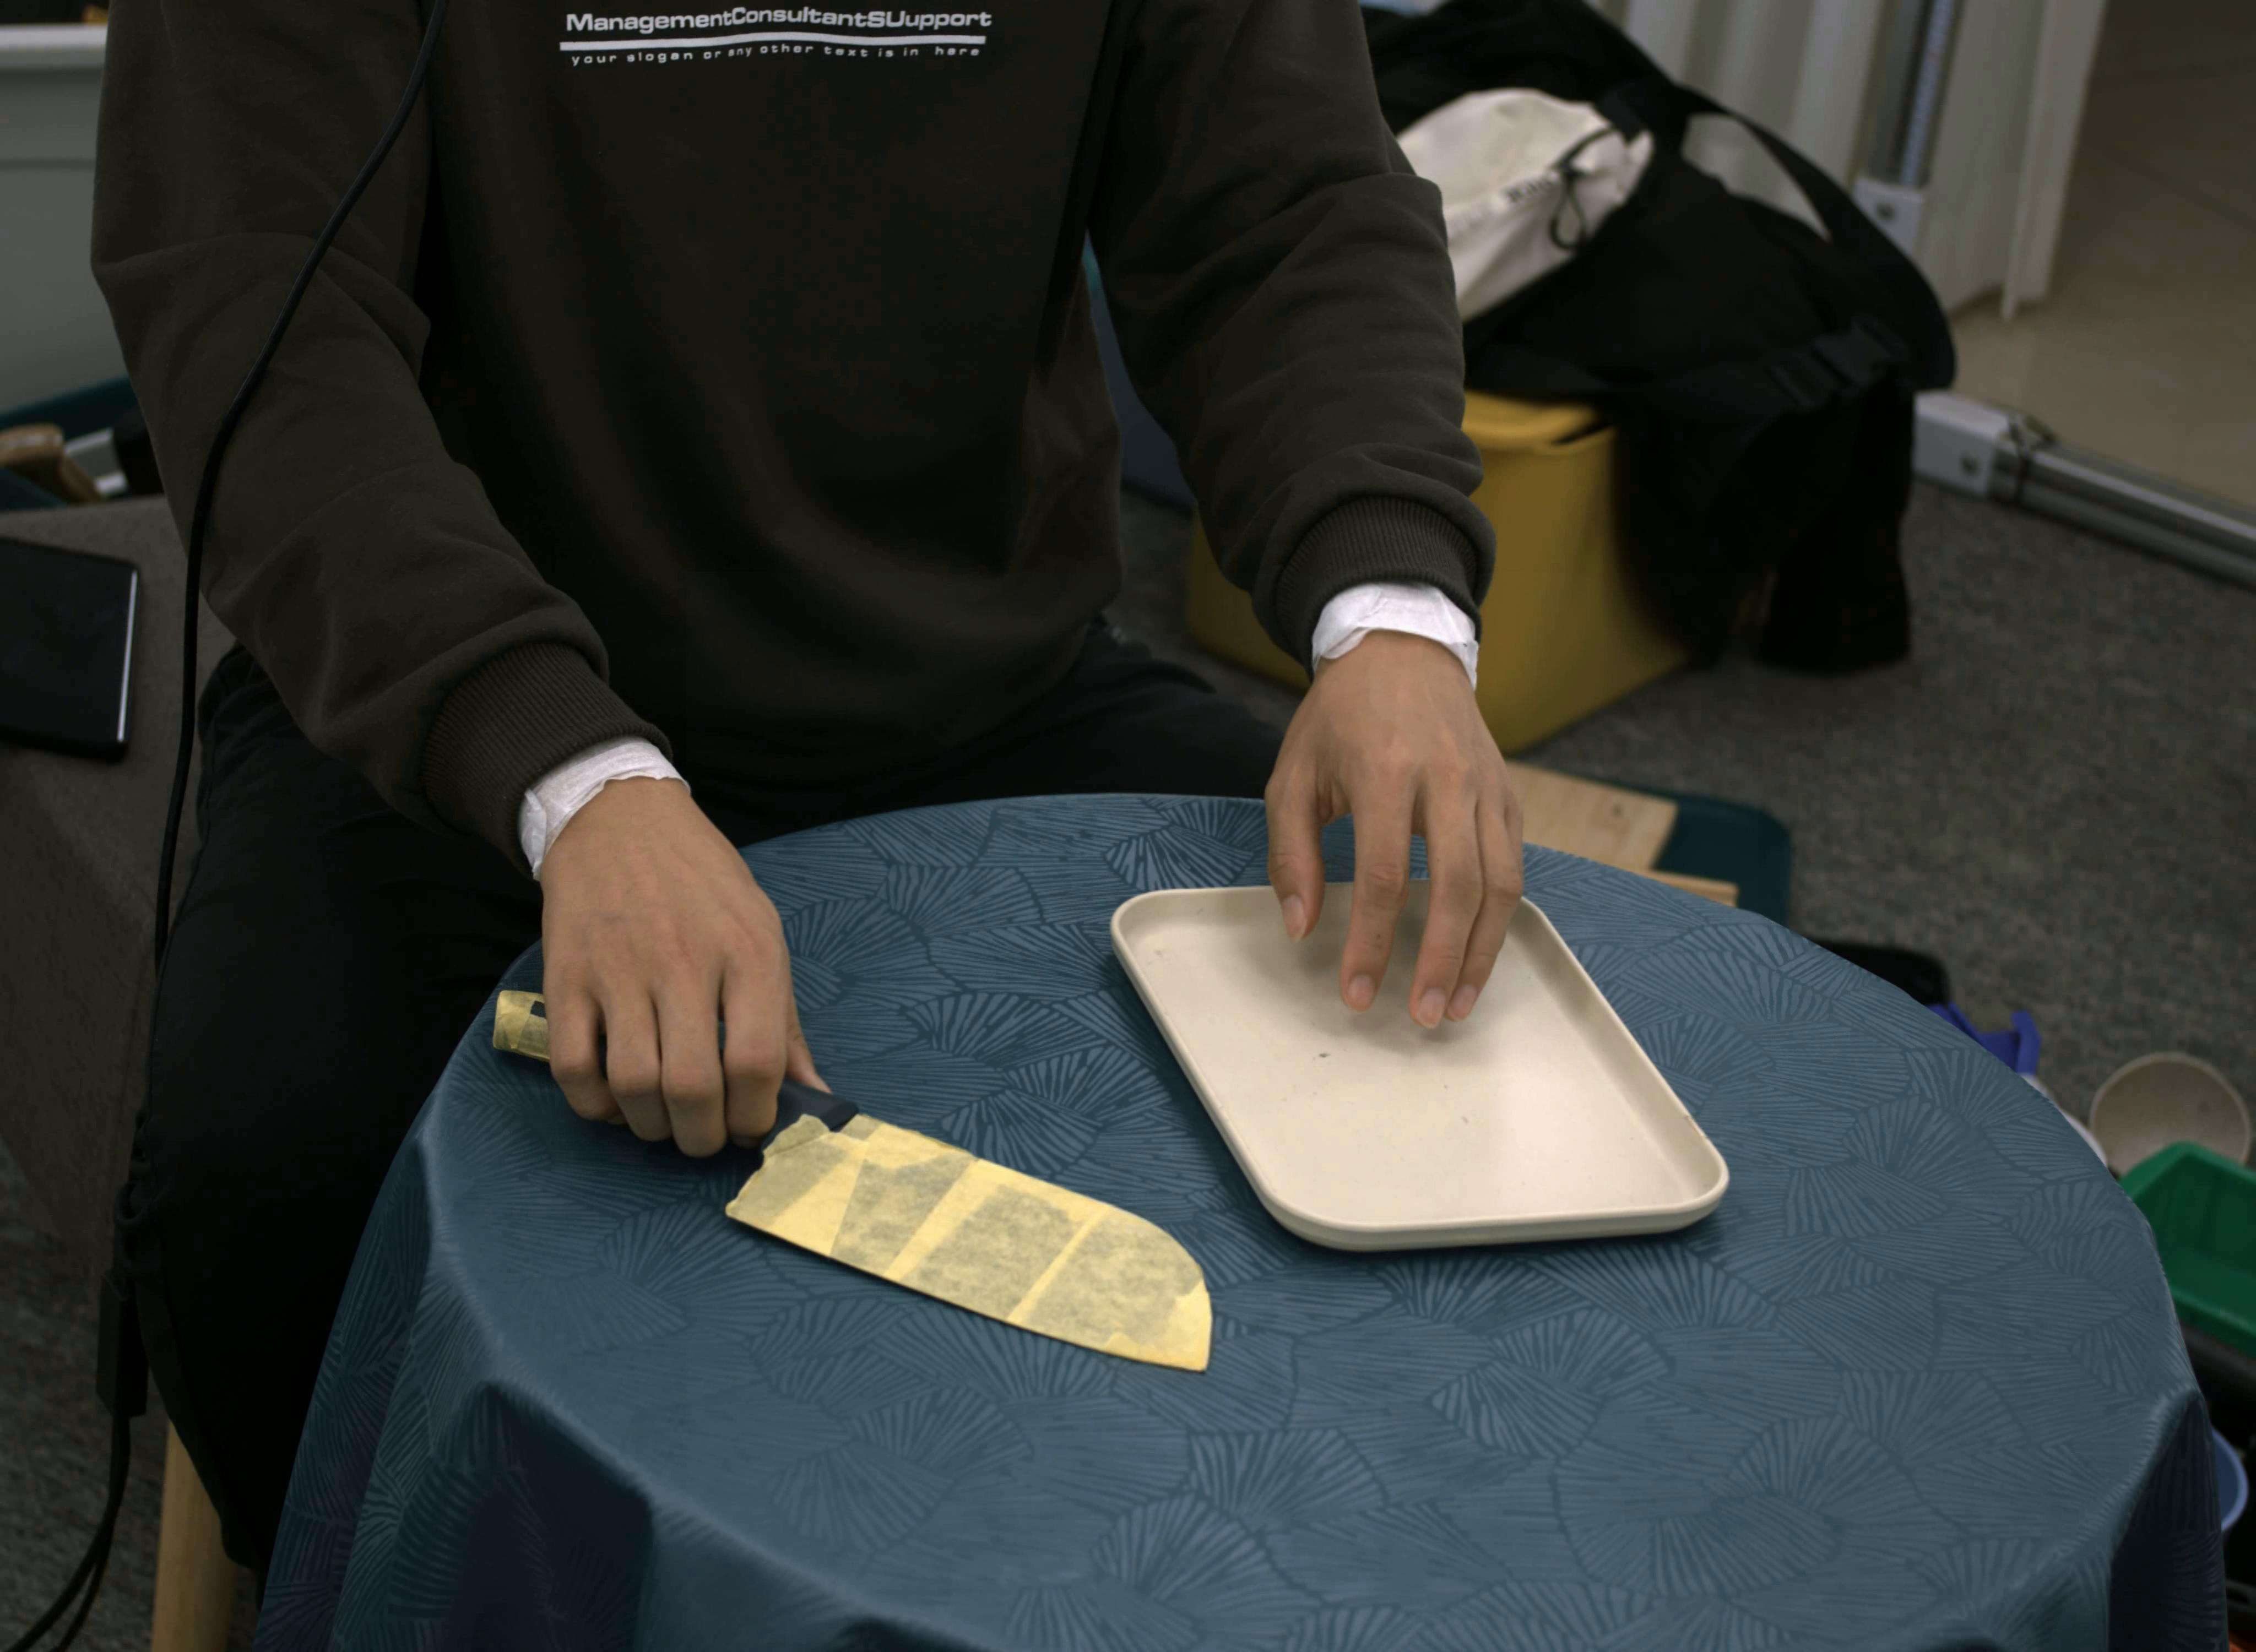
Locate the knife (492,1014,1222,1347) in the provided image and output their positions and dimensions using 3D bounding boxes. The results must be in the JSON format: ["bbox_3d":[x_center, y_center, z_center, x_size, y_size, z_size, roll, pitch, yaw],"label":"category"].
[{"bbox_3d":[-0.097,0.119,1.777,0.291,0.027,0.081,19,33,23],"label":"knife"}]

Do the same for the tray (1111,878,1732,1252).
[{"bbox_3d":[0.100,0.083,1.888,0.170,0.017,0.242,-3,28,-17],"label":"tray"}]
